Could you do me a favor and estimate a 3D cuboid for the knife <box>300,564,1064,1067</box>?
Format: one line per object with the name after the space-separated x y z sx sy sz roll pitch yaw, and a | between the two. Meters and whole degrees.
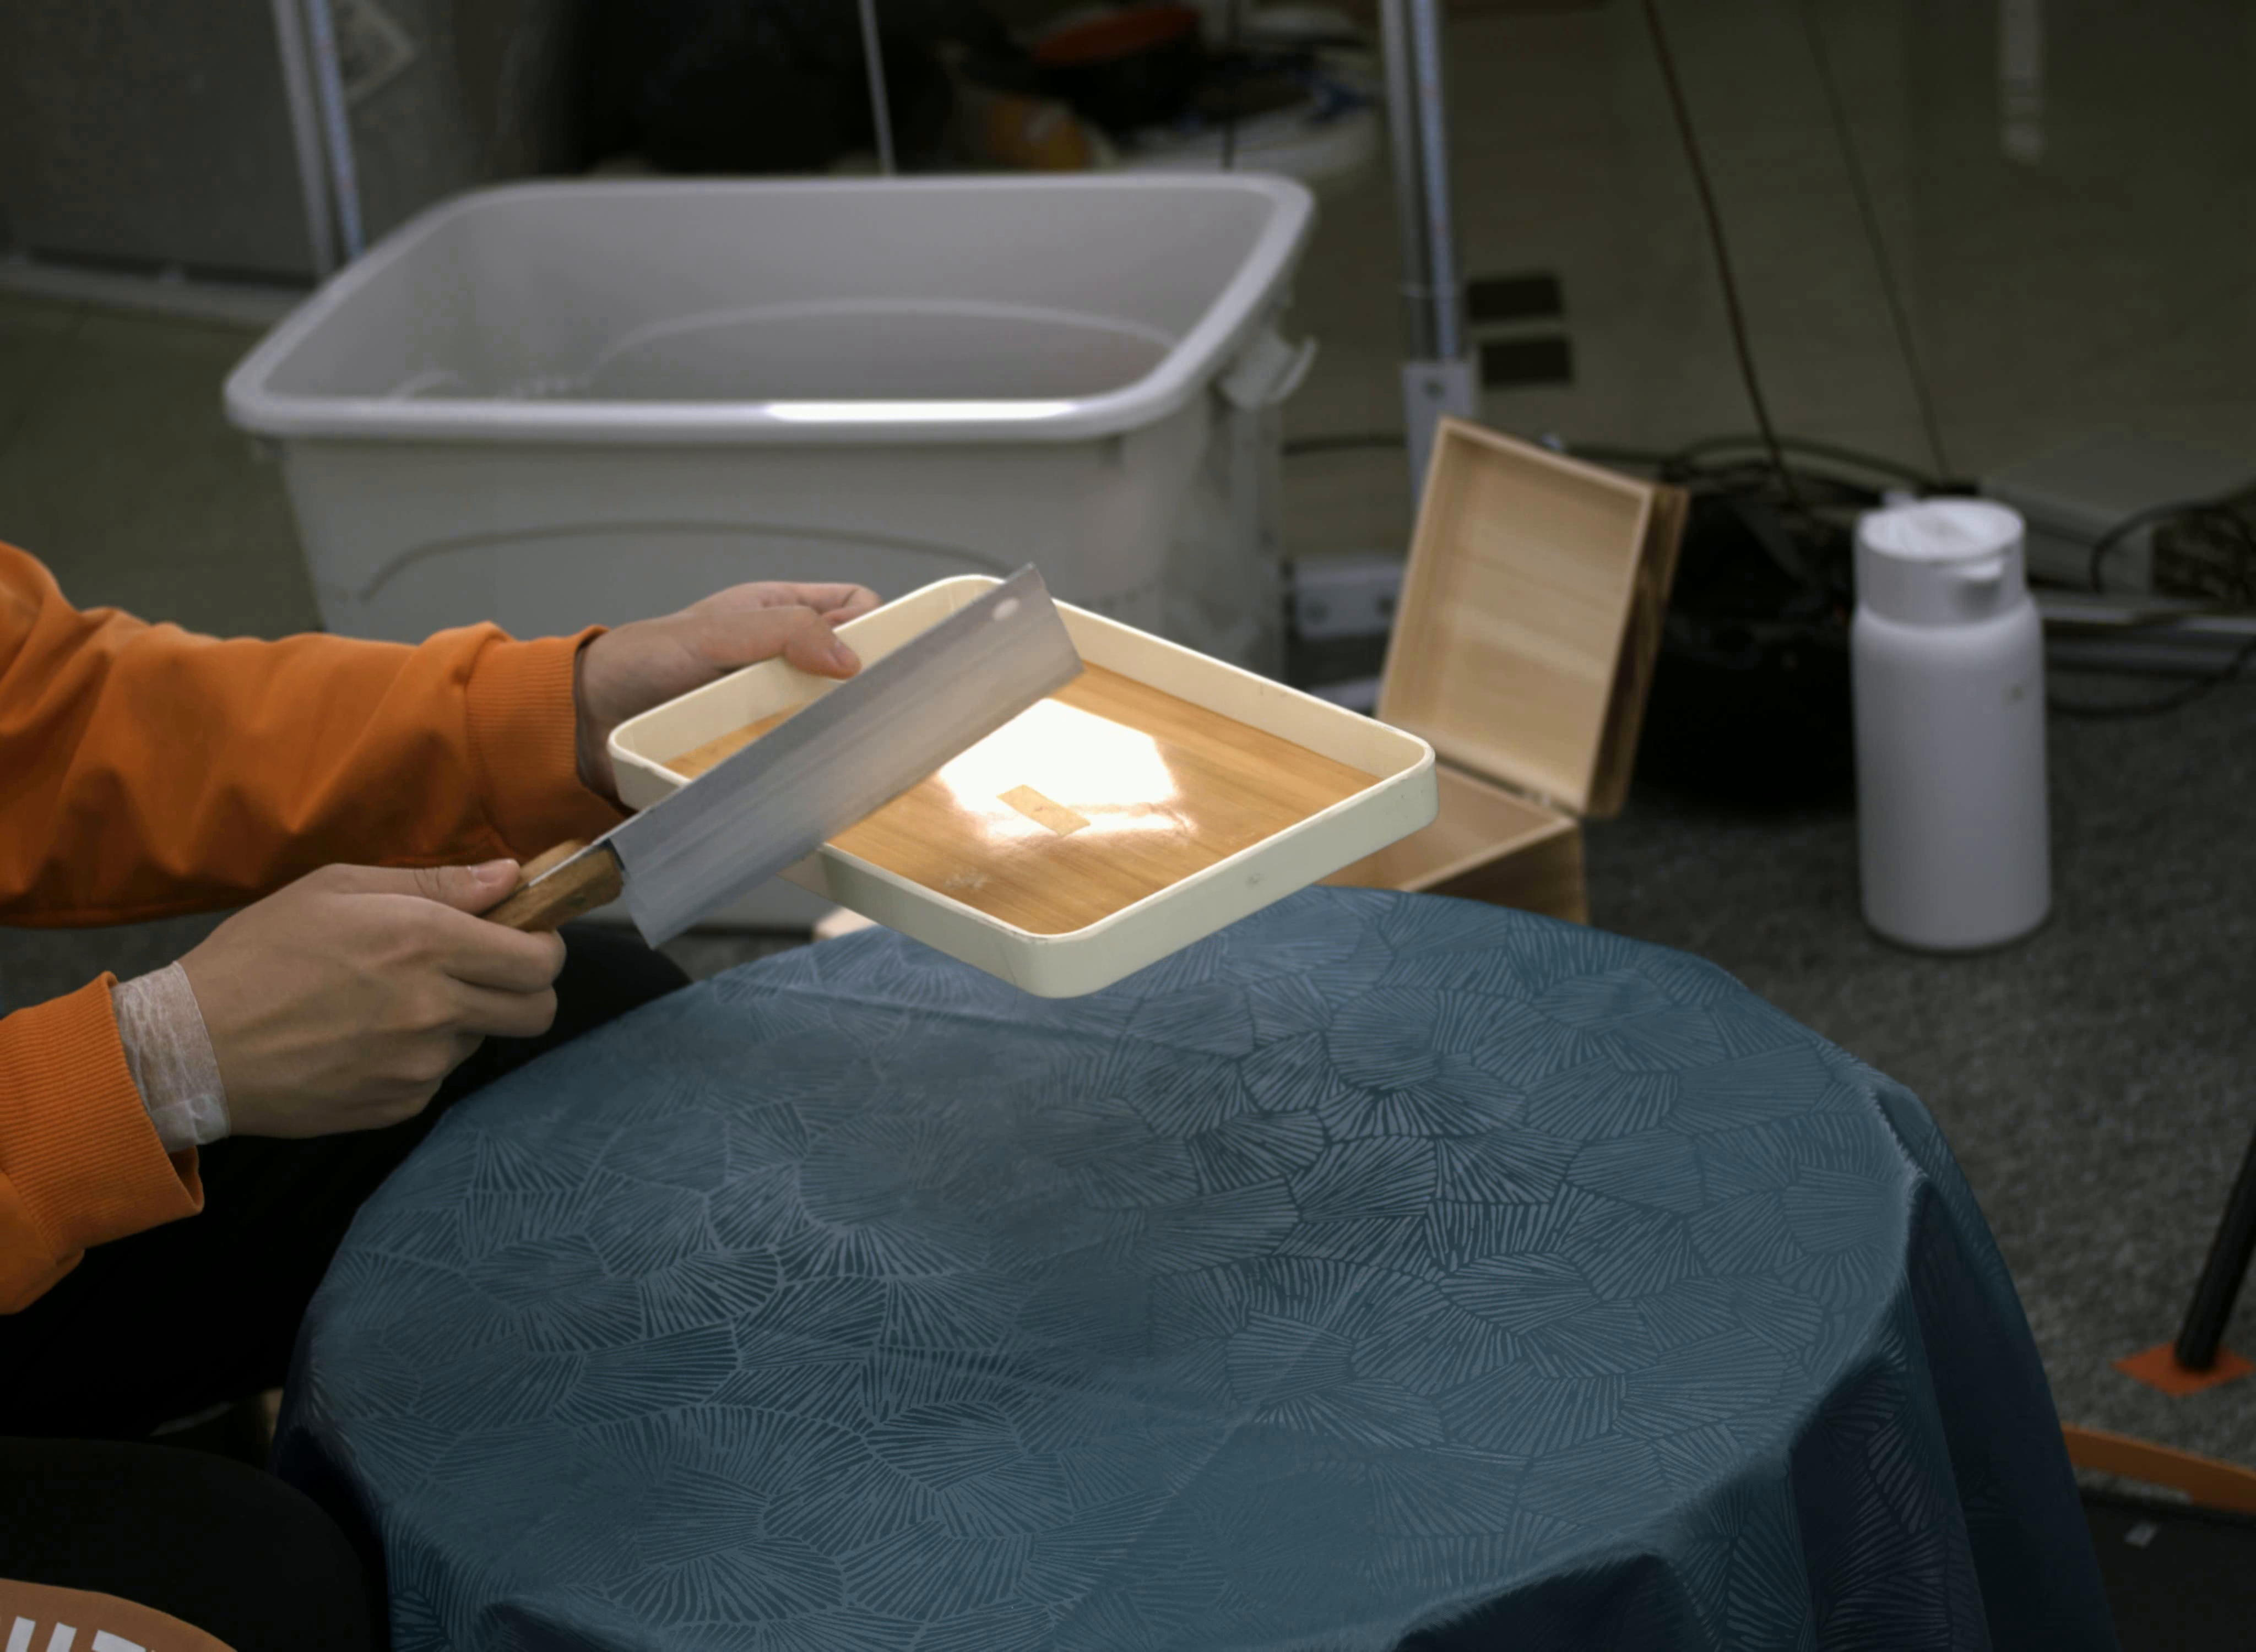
-0.155 0.004 2.032 0.305 0.094 0.021 -33 65 -2 | knife

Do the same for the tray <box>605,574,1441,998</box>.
-0.043 -0.020 2.132 0.190 0.028 0.297 -26 31 -30 | tray
